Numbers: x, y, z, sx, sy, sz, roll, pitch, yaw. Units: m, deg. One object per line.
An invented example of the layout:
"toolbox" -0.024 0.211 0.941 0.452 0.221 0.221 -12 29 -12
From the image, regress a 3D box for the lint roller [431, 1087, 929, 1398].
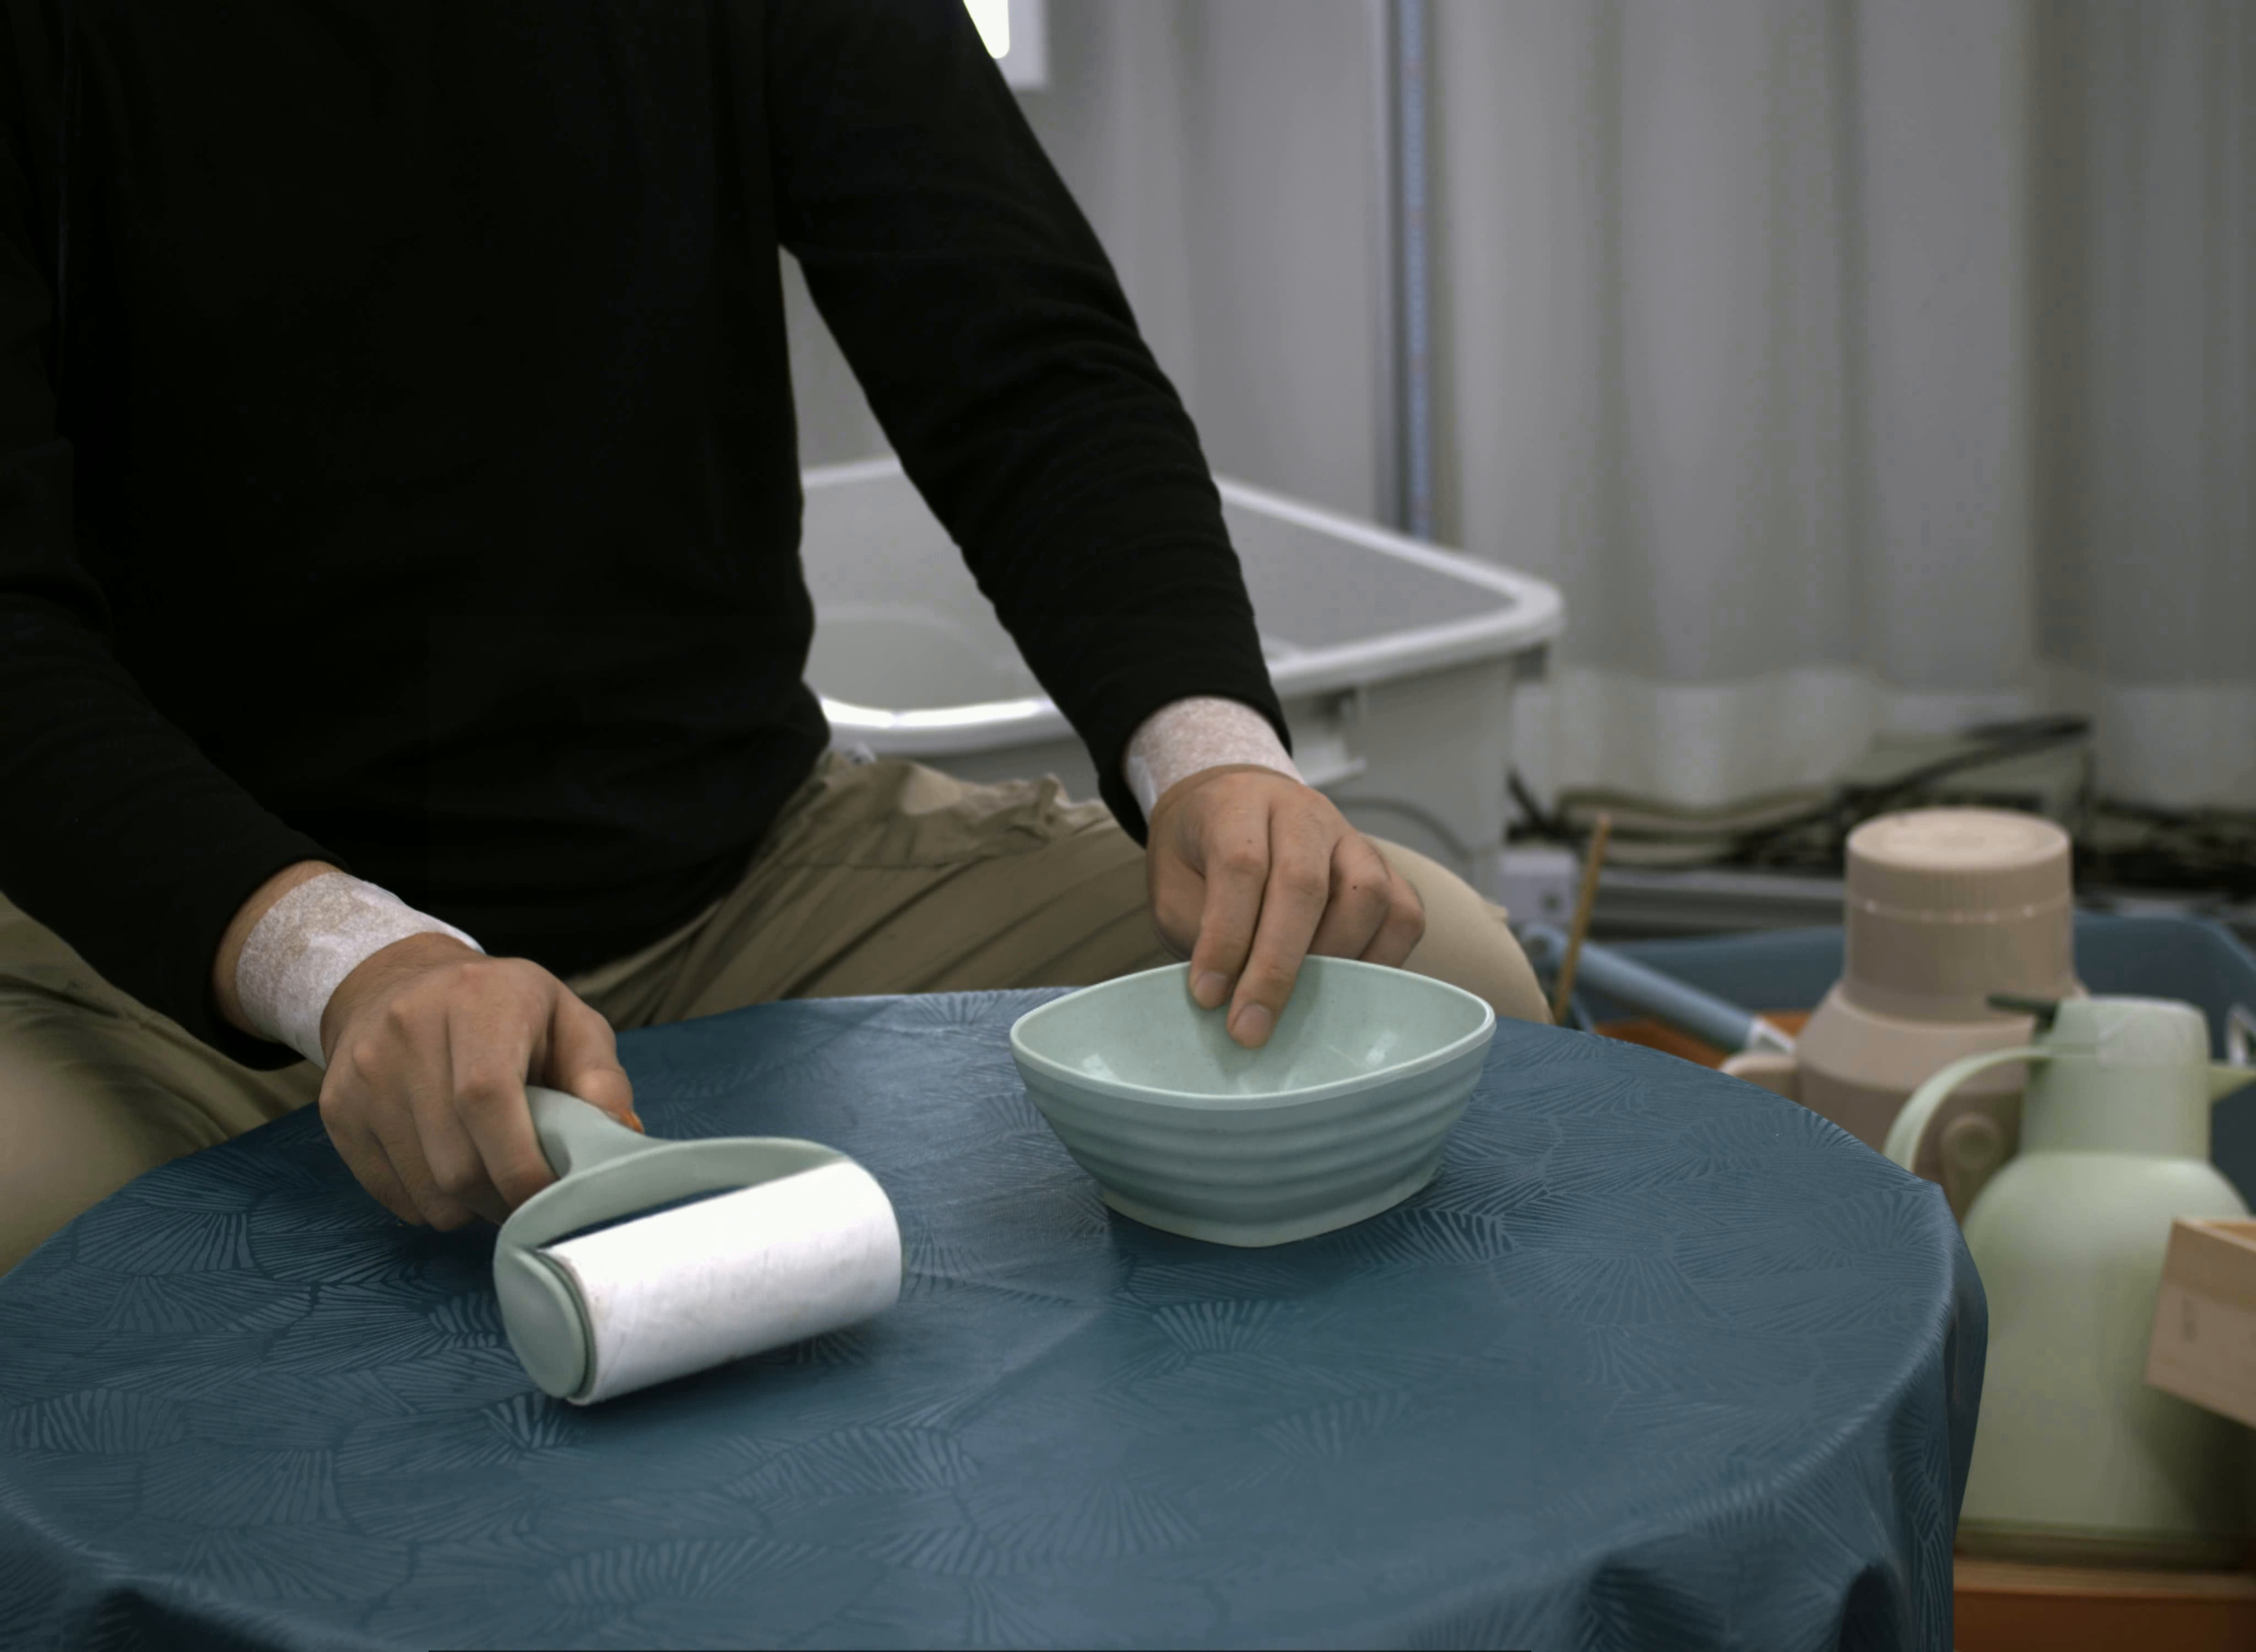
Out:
"lint roller" -0.154 0.107 1.632 0.116 0.048 0.199 -17 26 -30

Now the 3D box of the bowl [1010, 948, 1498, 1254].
"bowl" 0.040 0.088 1.697 0.151 0.058 0.152 -3 16 0
